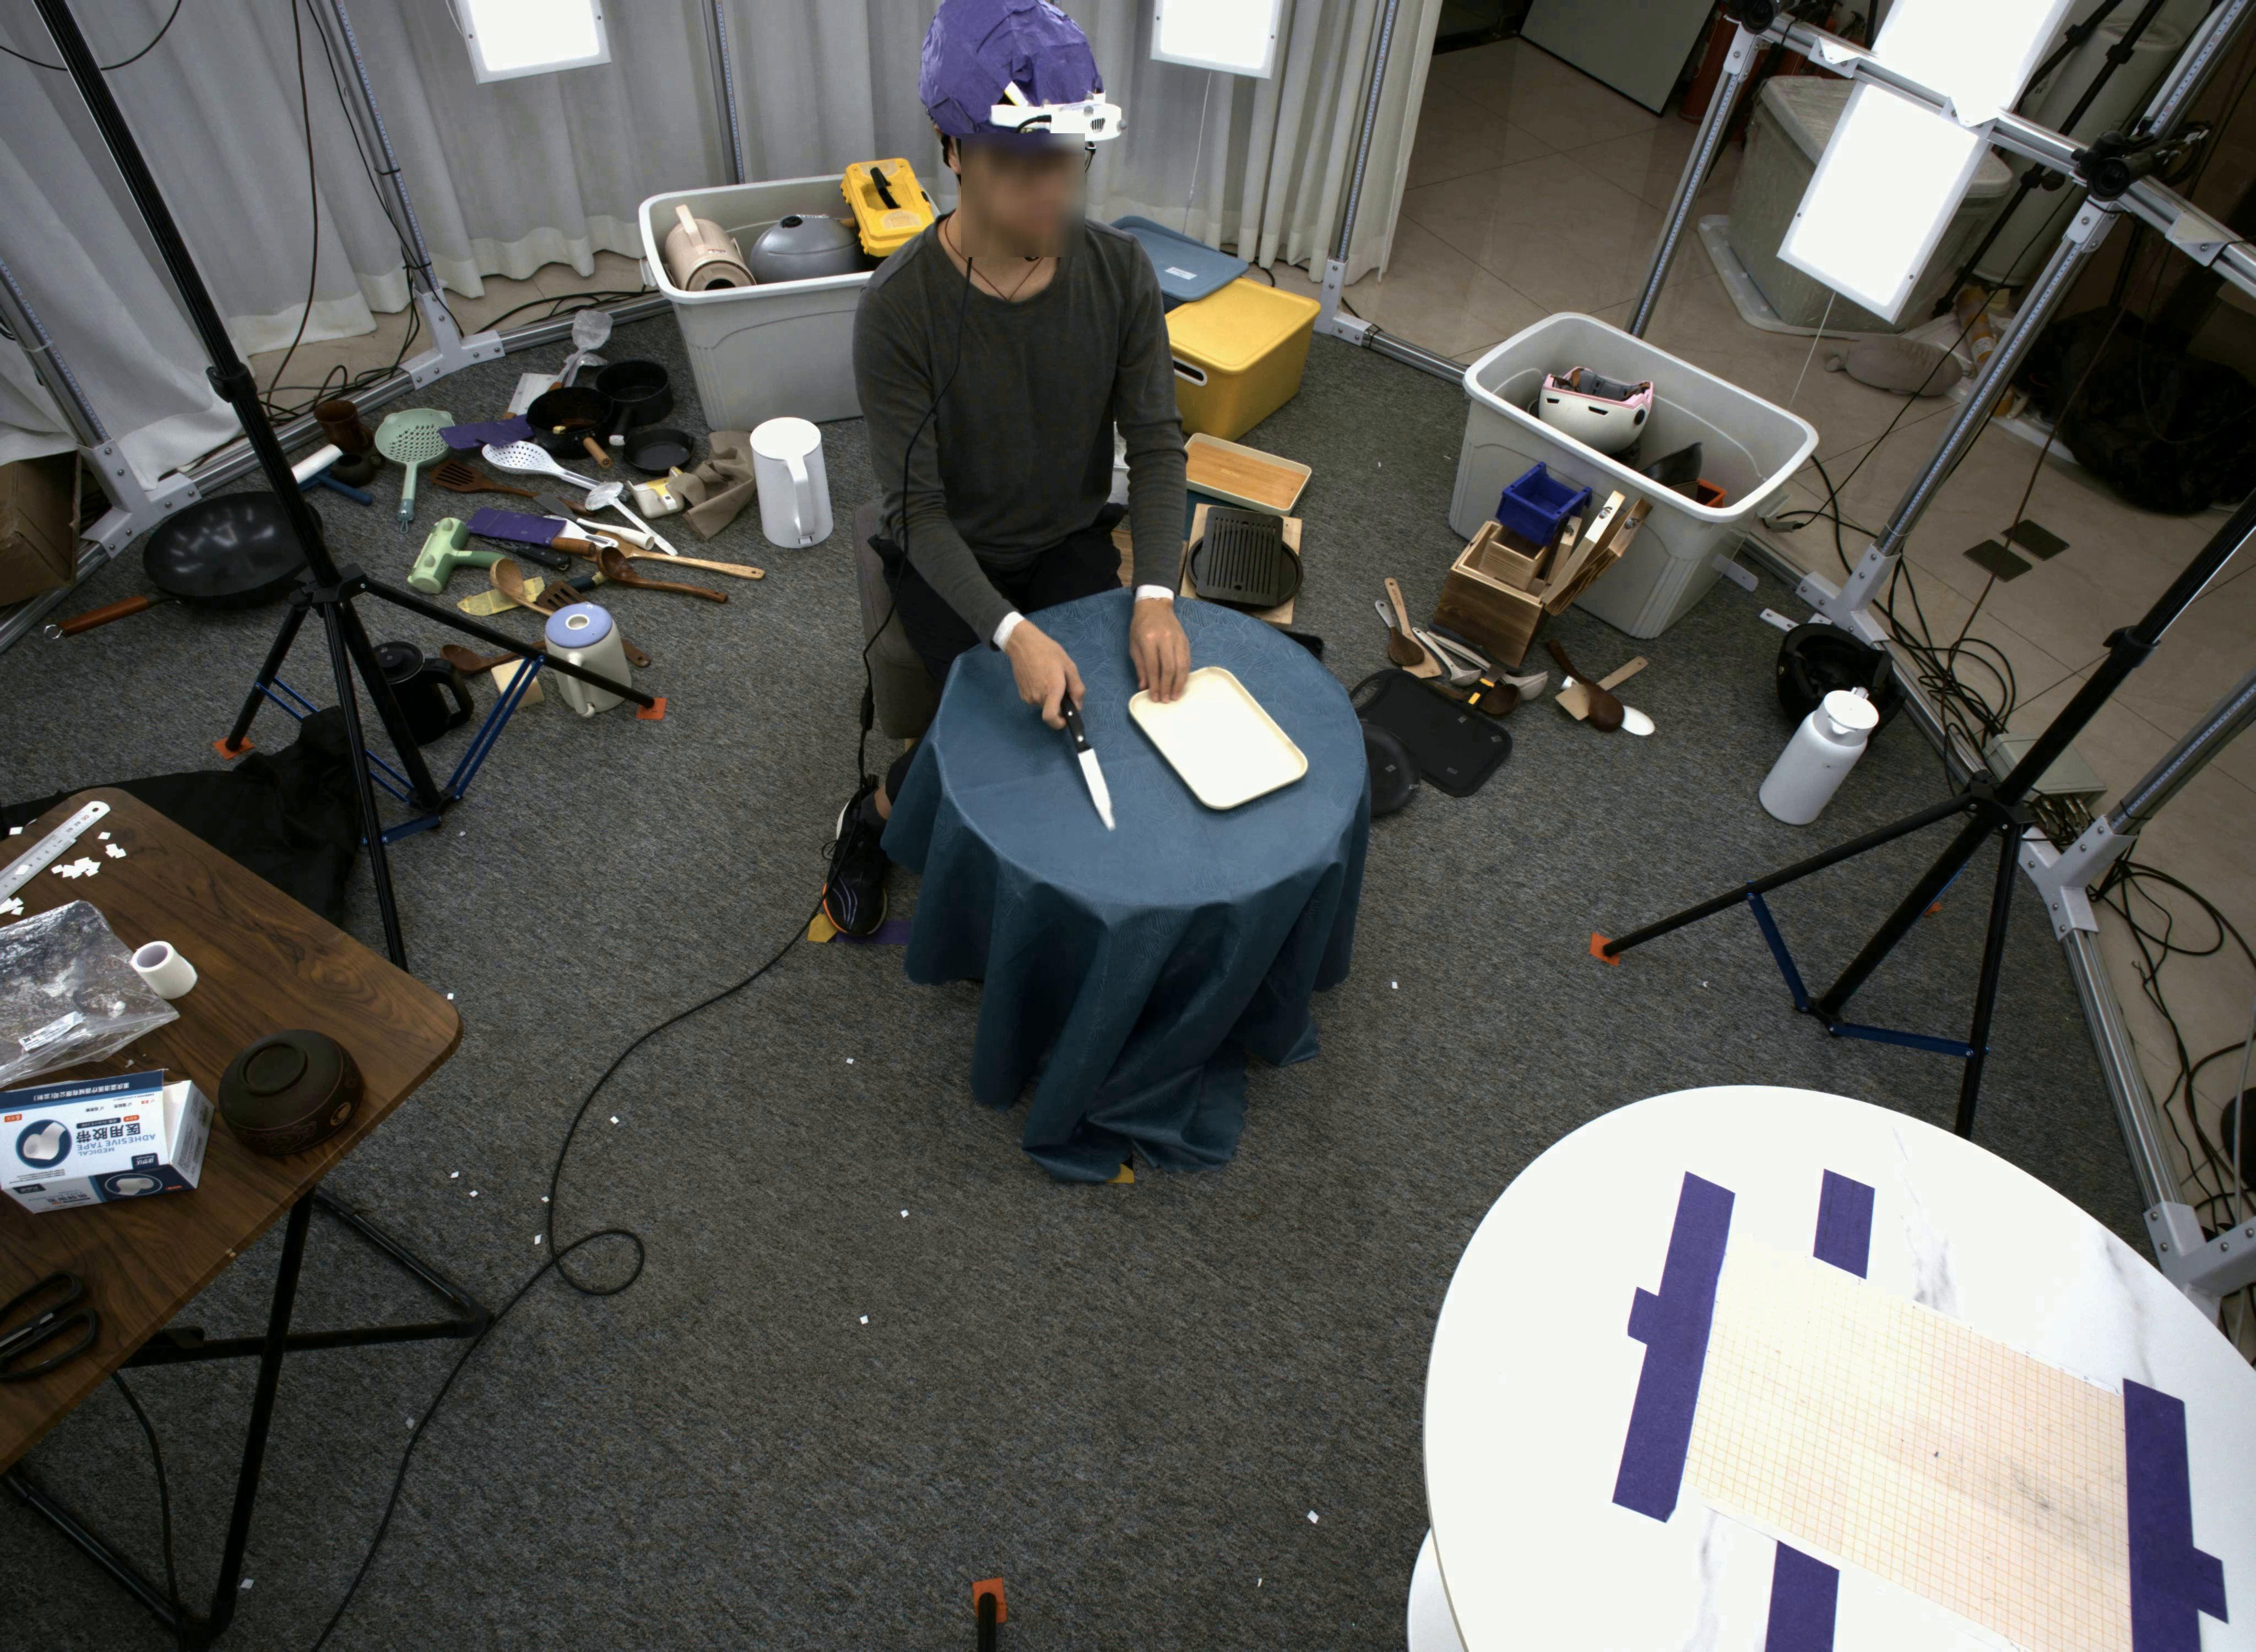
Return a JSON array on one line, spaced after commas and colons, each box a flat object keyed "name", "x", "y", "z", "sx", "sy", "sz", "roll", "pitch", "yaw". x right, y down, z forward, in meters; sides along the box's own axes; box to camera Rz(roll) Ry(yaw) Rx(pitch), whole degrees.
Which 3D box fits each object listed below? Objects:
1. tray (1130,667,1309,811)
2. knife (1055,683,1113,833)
[{"name": "tray", "x": 0.124, "y": -0.122, "z": 1.770, "sx": 0.172, "sy": 0.017, "sz": 0.245, "roll": -21, "pitch": 54, "yaw": -20}, {"name": "knife", "x": -0.059, "y": -0.092, "z": 1.713, "sx": 0.024, "sy": 0.016, "sz": 0.243, "roll": -13, "pitch": 62, "yaw": -12}]
